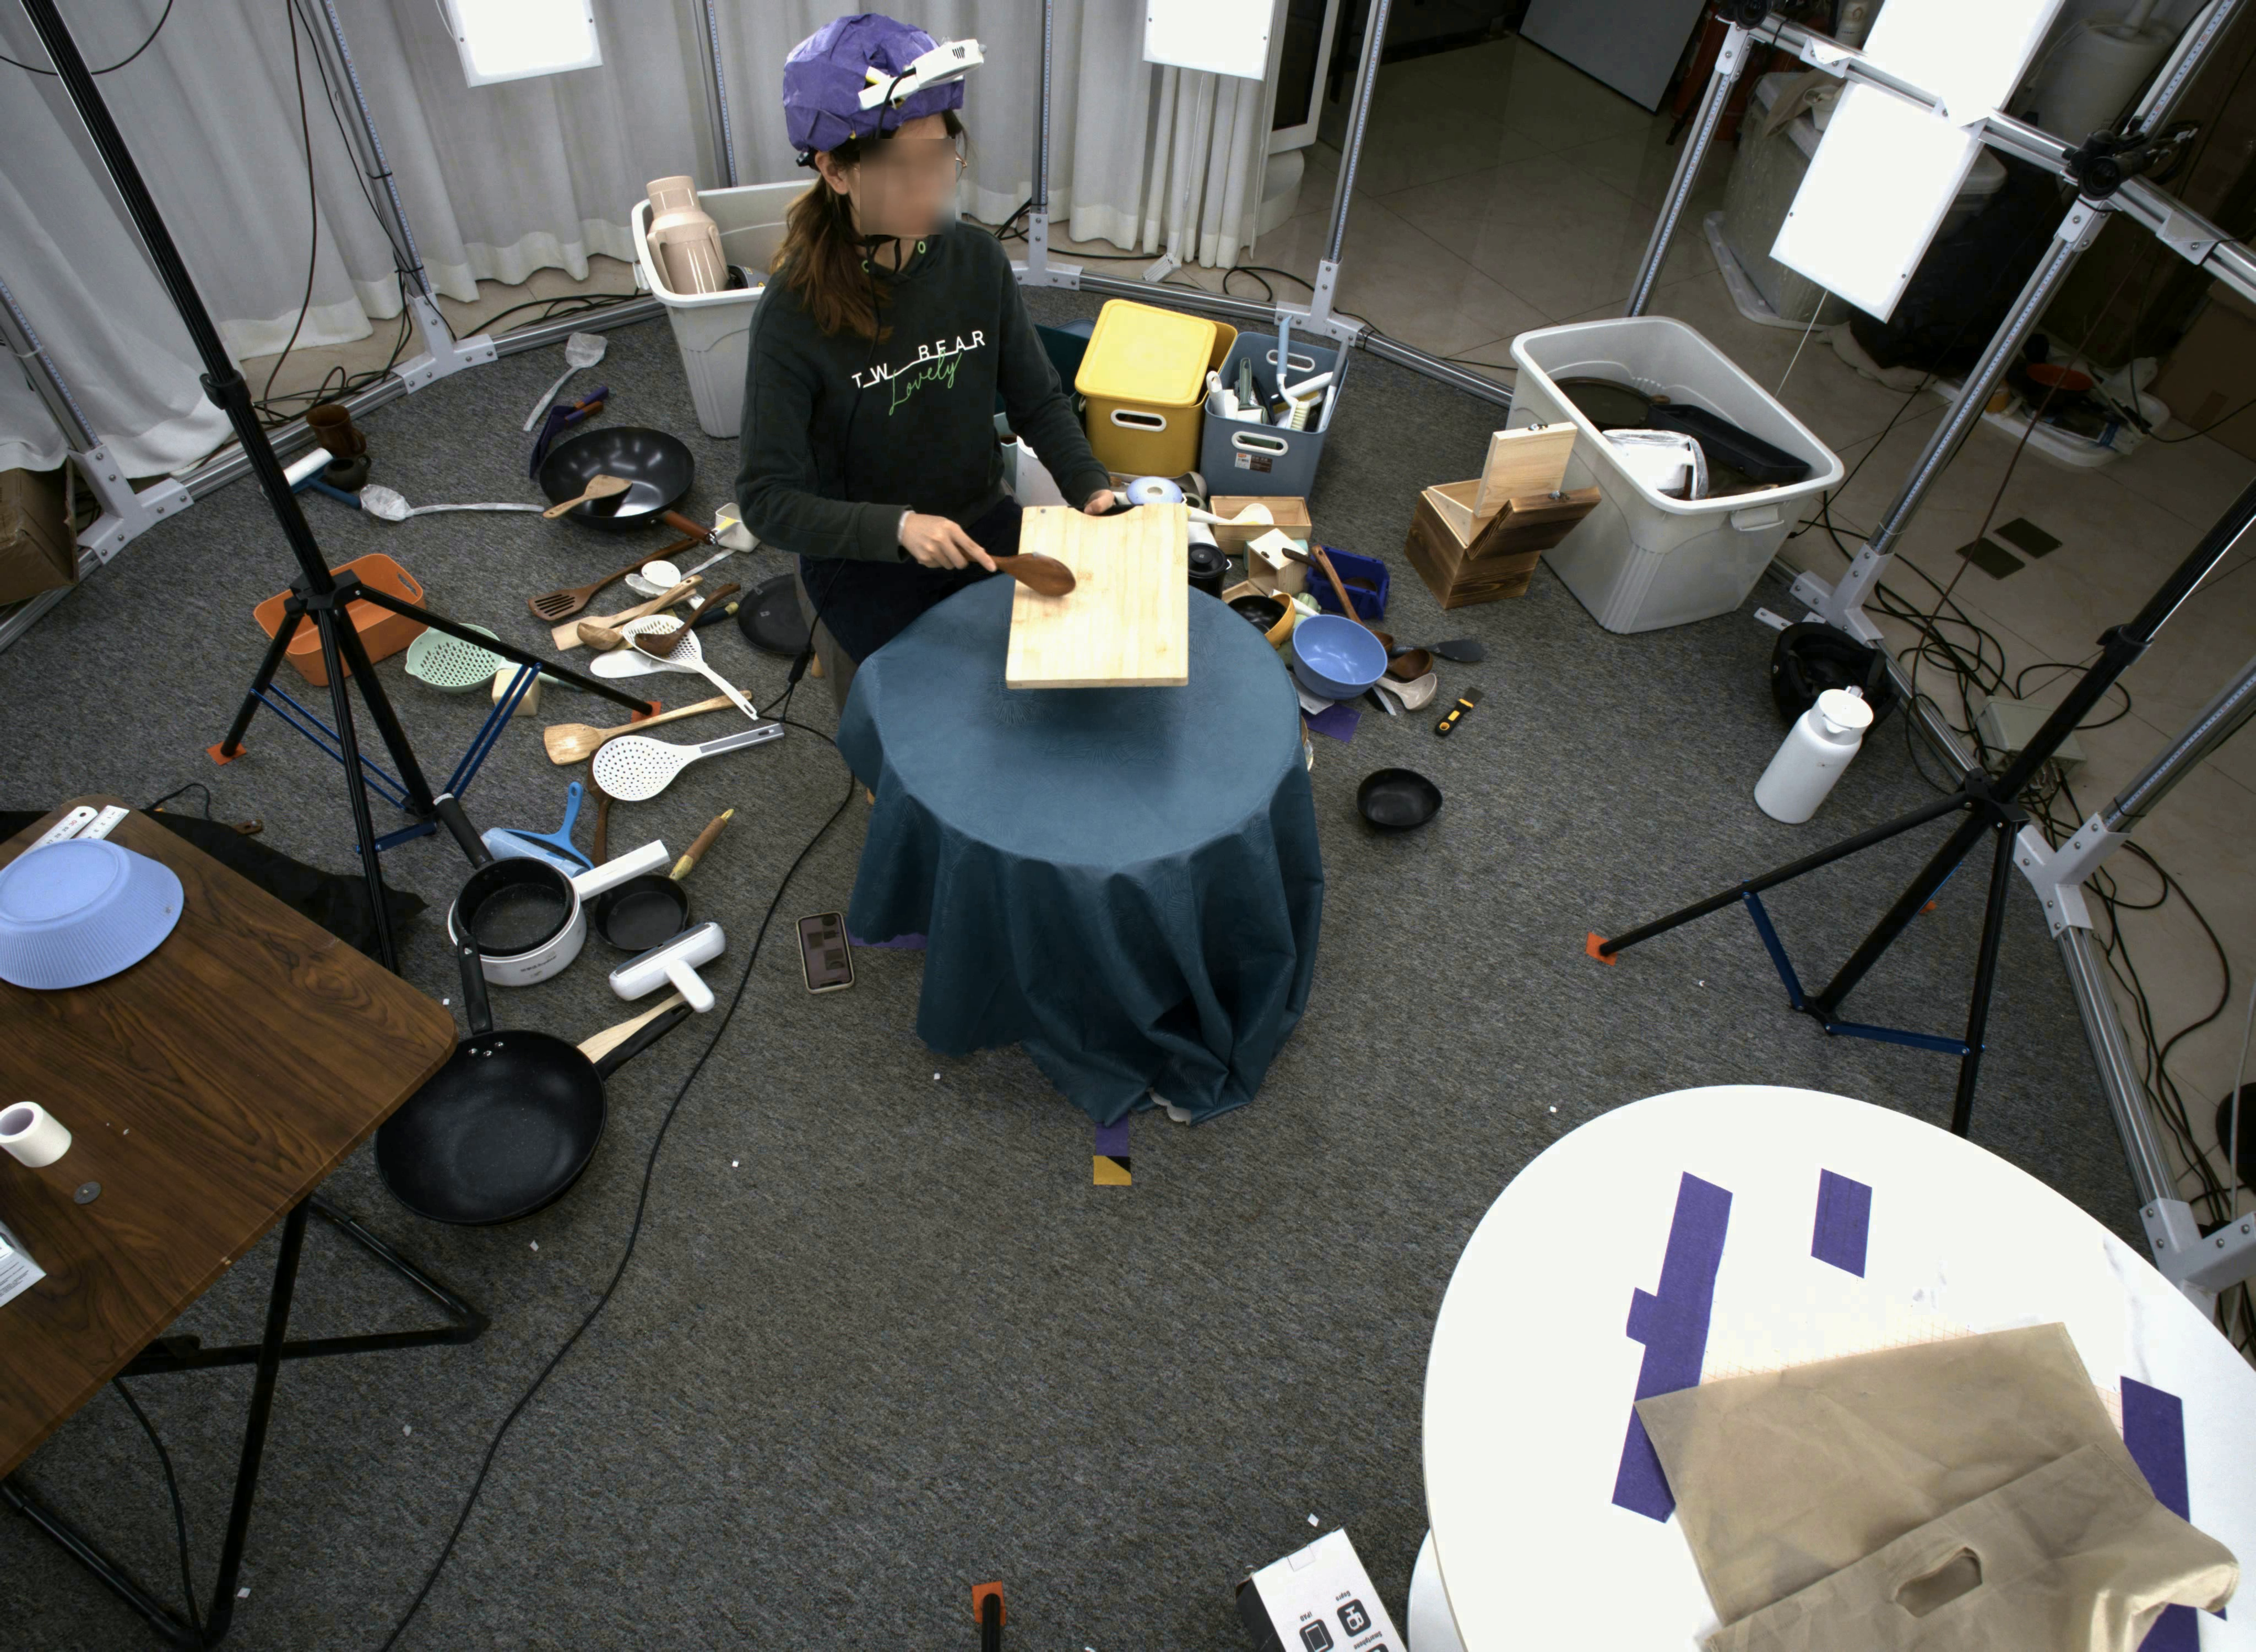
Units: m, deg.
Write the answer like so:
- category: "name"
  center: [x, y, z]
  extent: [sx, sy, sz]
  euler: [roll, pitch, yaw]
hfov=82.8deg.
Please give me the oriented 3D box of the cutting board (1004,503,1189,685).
- category: "cutting board"
  center: [-0.037, -0.330, 1.810]
  extent: [0.250, 0.023, 0.357]
  euler: [-1, 53, 3]

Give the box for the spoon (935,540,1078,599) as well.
- category: "spoon"
  center: [-0.169, -0.357, 1.782]
  extent: [0.217, 0.074, 0.017]
  euler: [19, 64, 14]
